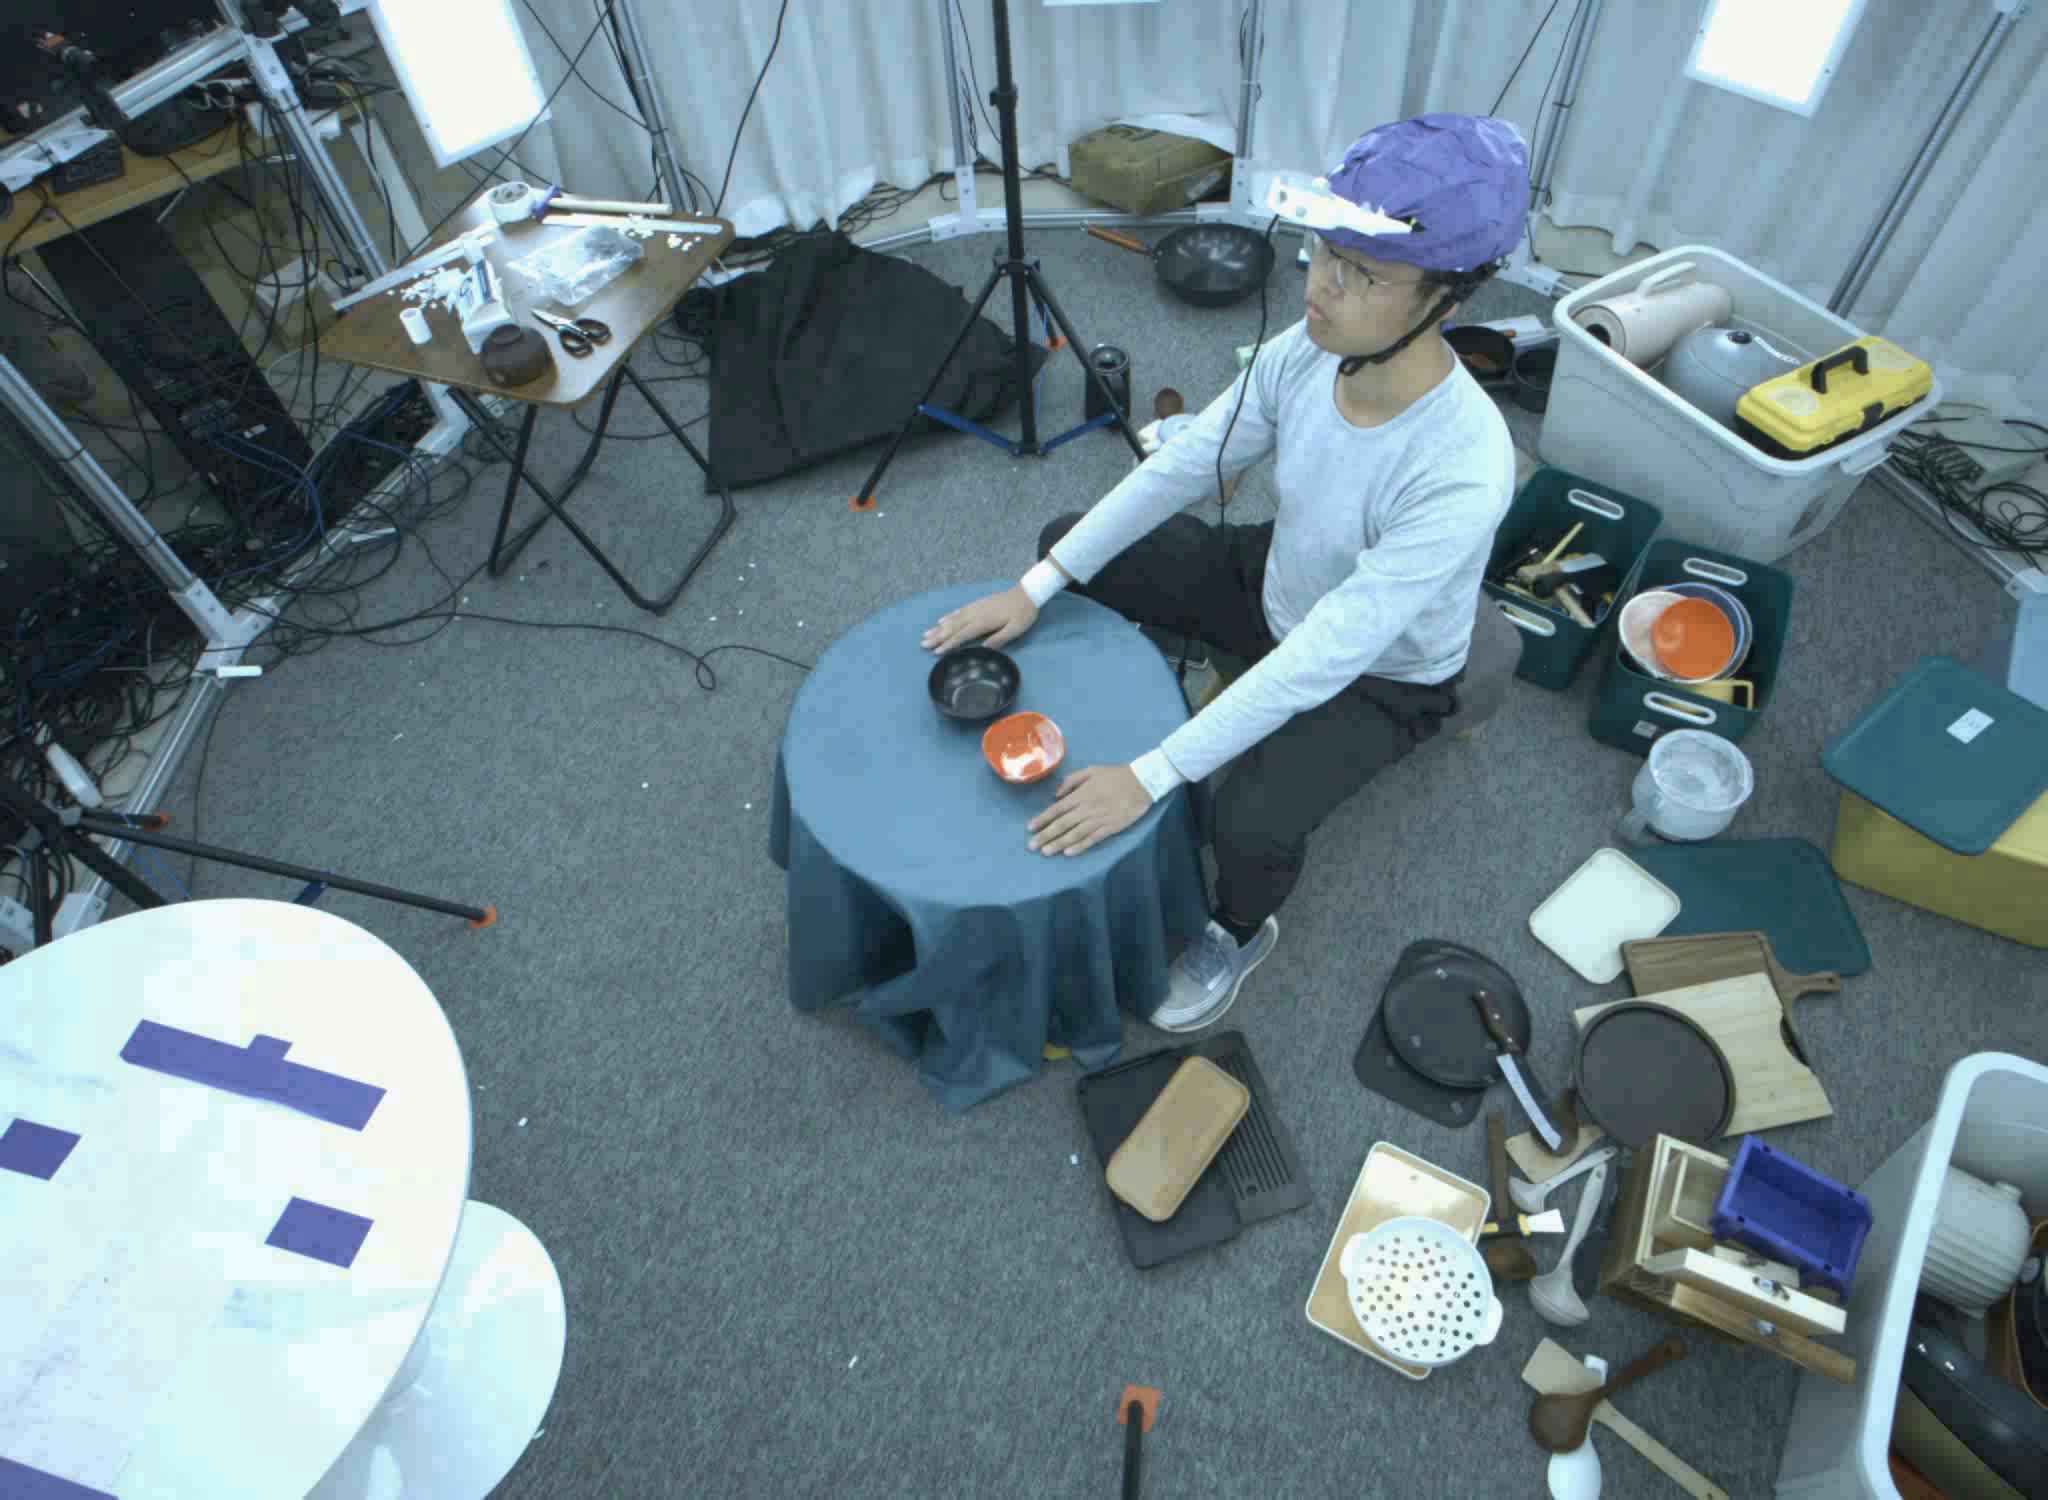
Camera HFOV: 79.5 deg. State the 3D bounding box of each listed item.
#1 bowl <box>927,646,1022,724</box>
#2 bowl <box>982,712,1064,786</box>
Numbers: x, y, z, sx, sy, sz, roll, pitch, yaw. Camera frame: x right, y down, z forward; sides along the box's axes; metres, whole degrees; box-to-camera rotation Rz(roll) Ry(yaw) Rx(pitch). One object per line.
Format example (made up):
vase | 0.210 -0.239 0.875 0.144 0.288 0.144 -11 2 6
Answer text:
bowl | -0.073 -0.088 1.833 0.140 0.050 0.138 2 54 -2
bowl | 0.000 0.006 1.756 0.118 0.052 0.117 -2 55 4
